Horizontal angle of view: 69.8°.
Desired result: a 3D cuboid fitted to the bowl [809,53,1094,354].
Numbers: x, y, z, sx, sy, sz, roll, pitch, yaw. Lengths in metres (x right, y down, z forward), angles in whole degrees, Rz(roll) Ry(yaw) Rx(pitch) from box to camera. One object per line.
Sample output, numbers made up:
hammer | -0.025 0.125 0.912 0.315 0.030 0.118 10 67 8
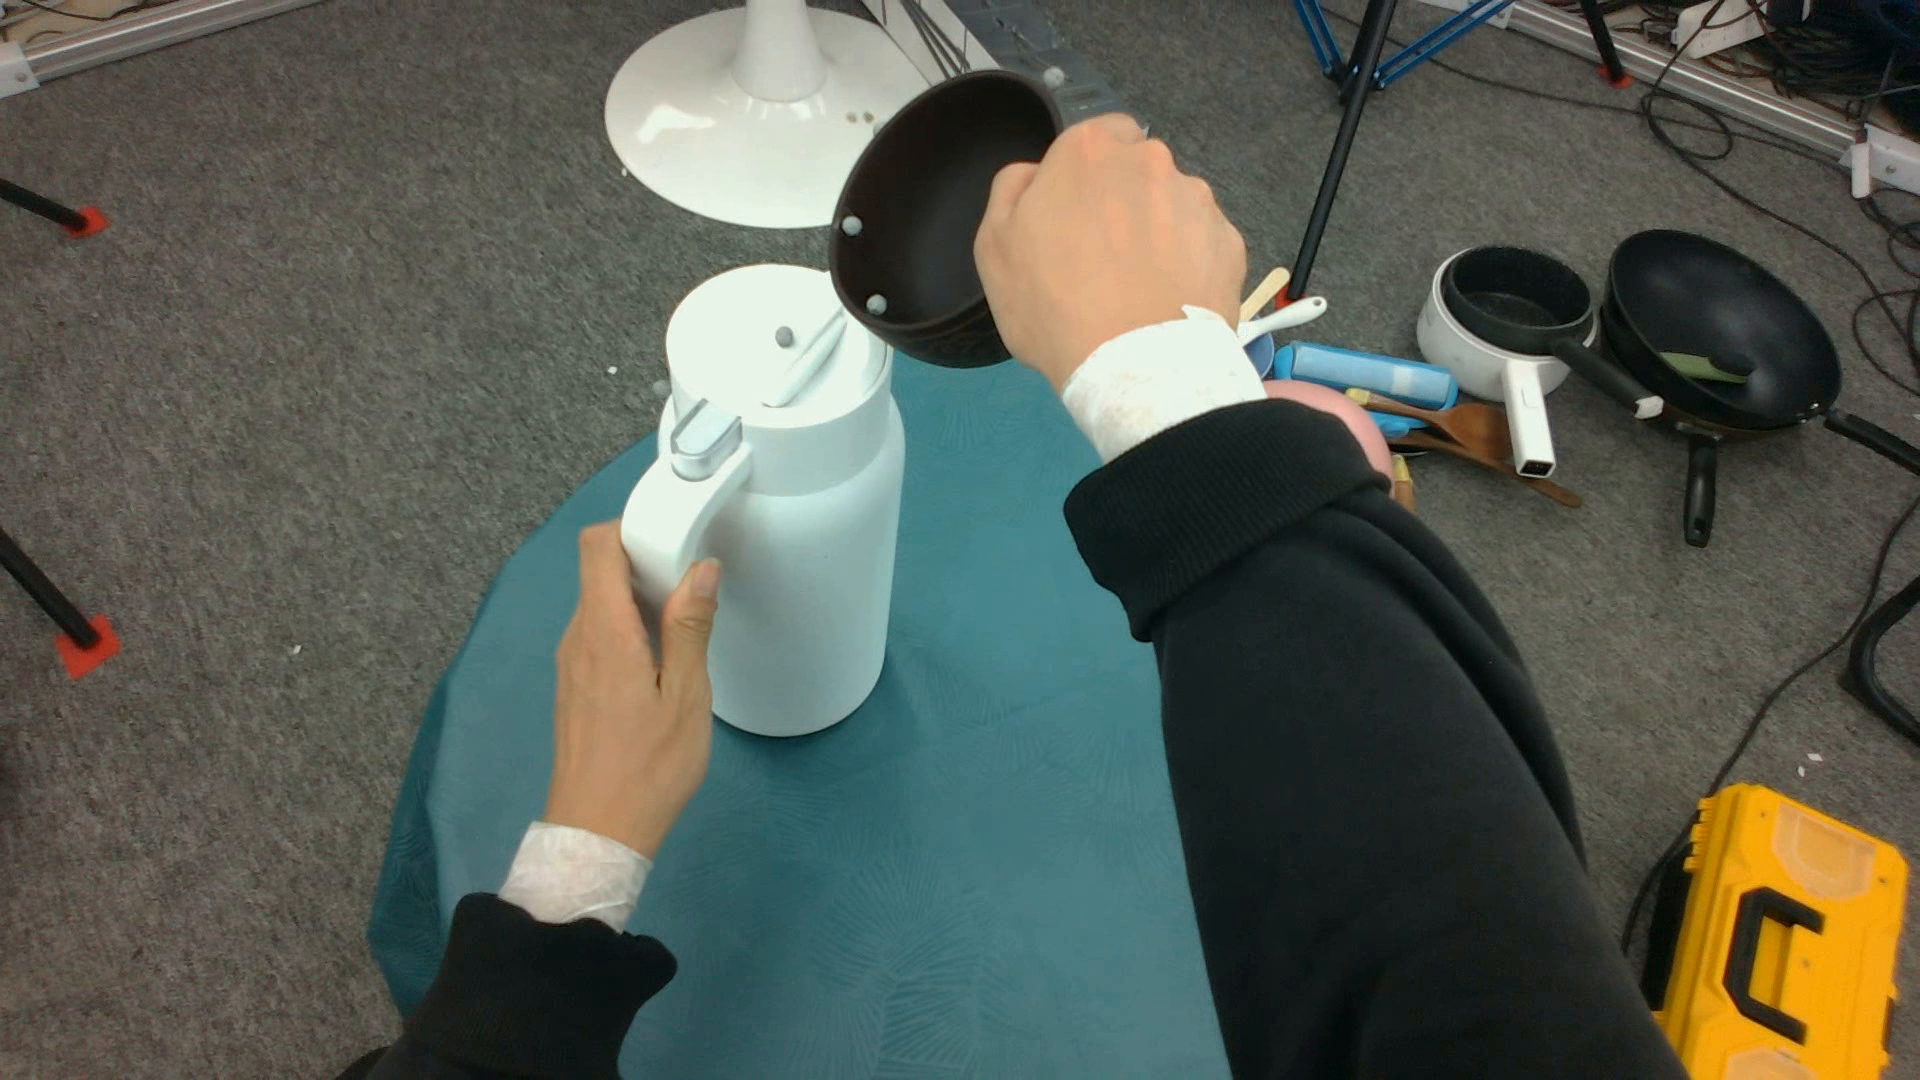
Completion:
bowl | 0.004 -0.130 0.565 0.117 0.070 0.118 -14 65 32

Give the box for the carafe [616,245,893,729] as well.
carafe | -0.104 -0.003 0.694 0.124 0.267 0.173 26 54 8
